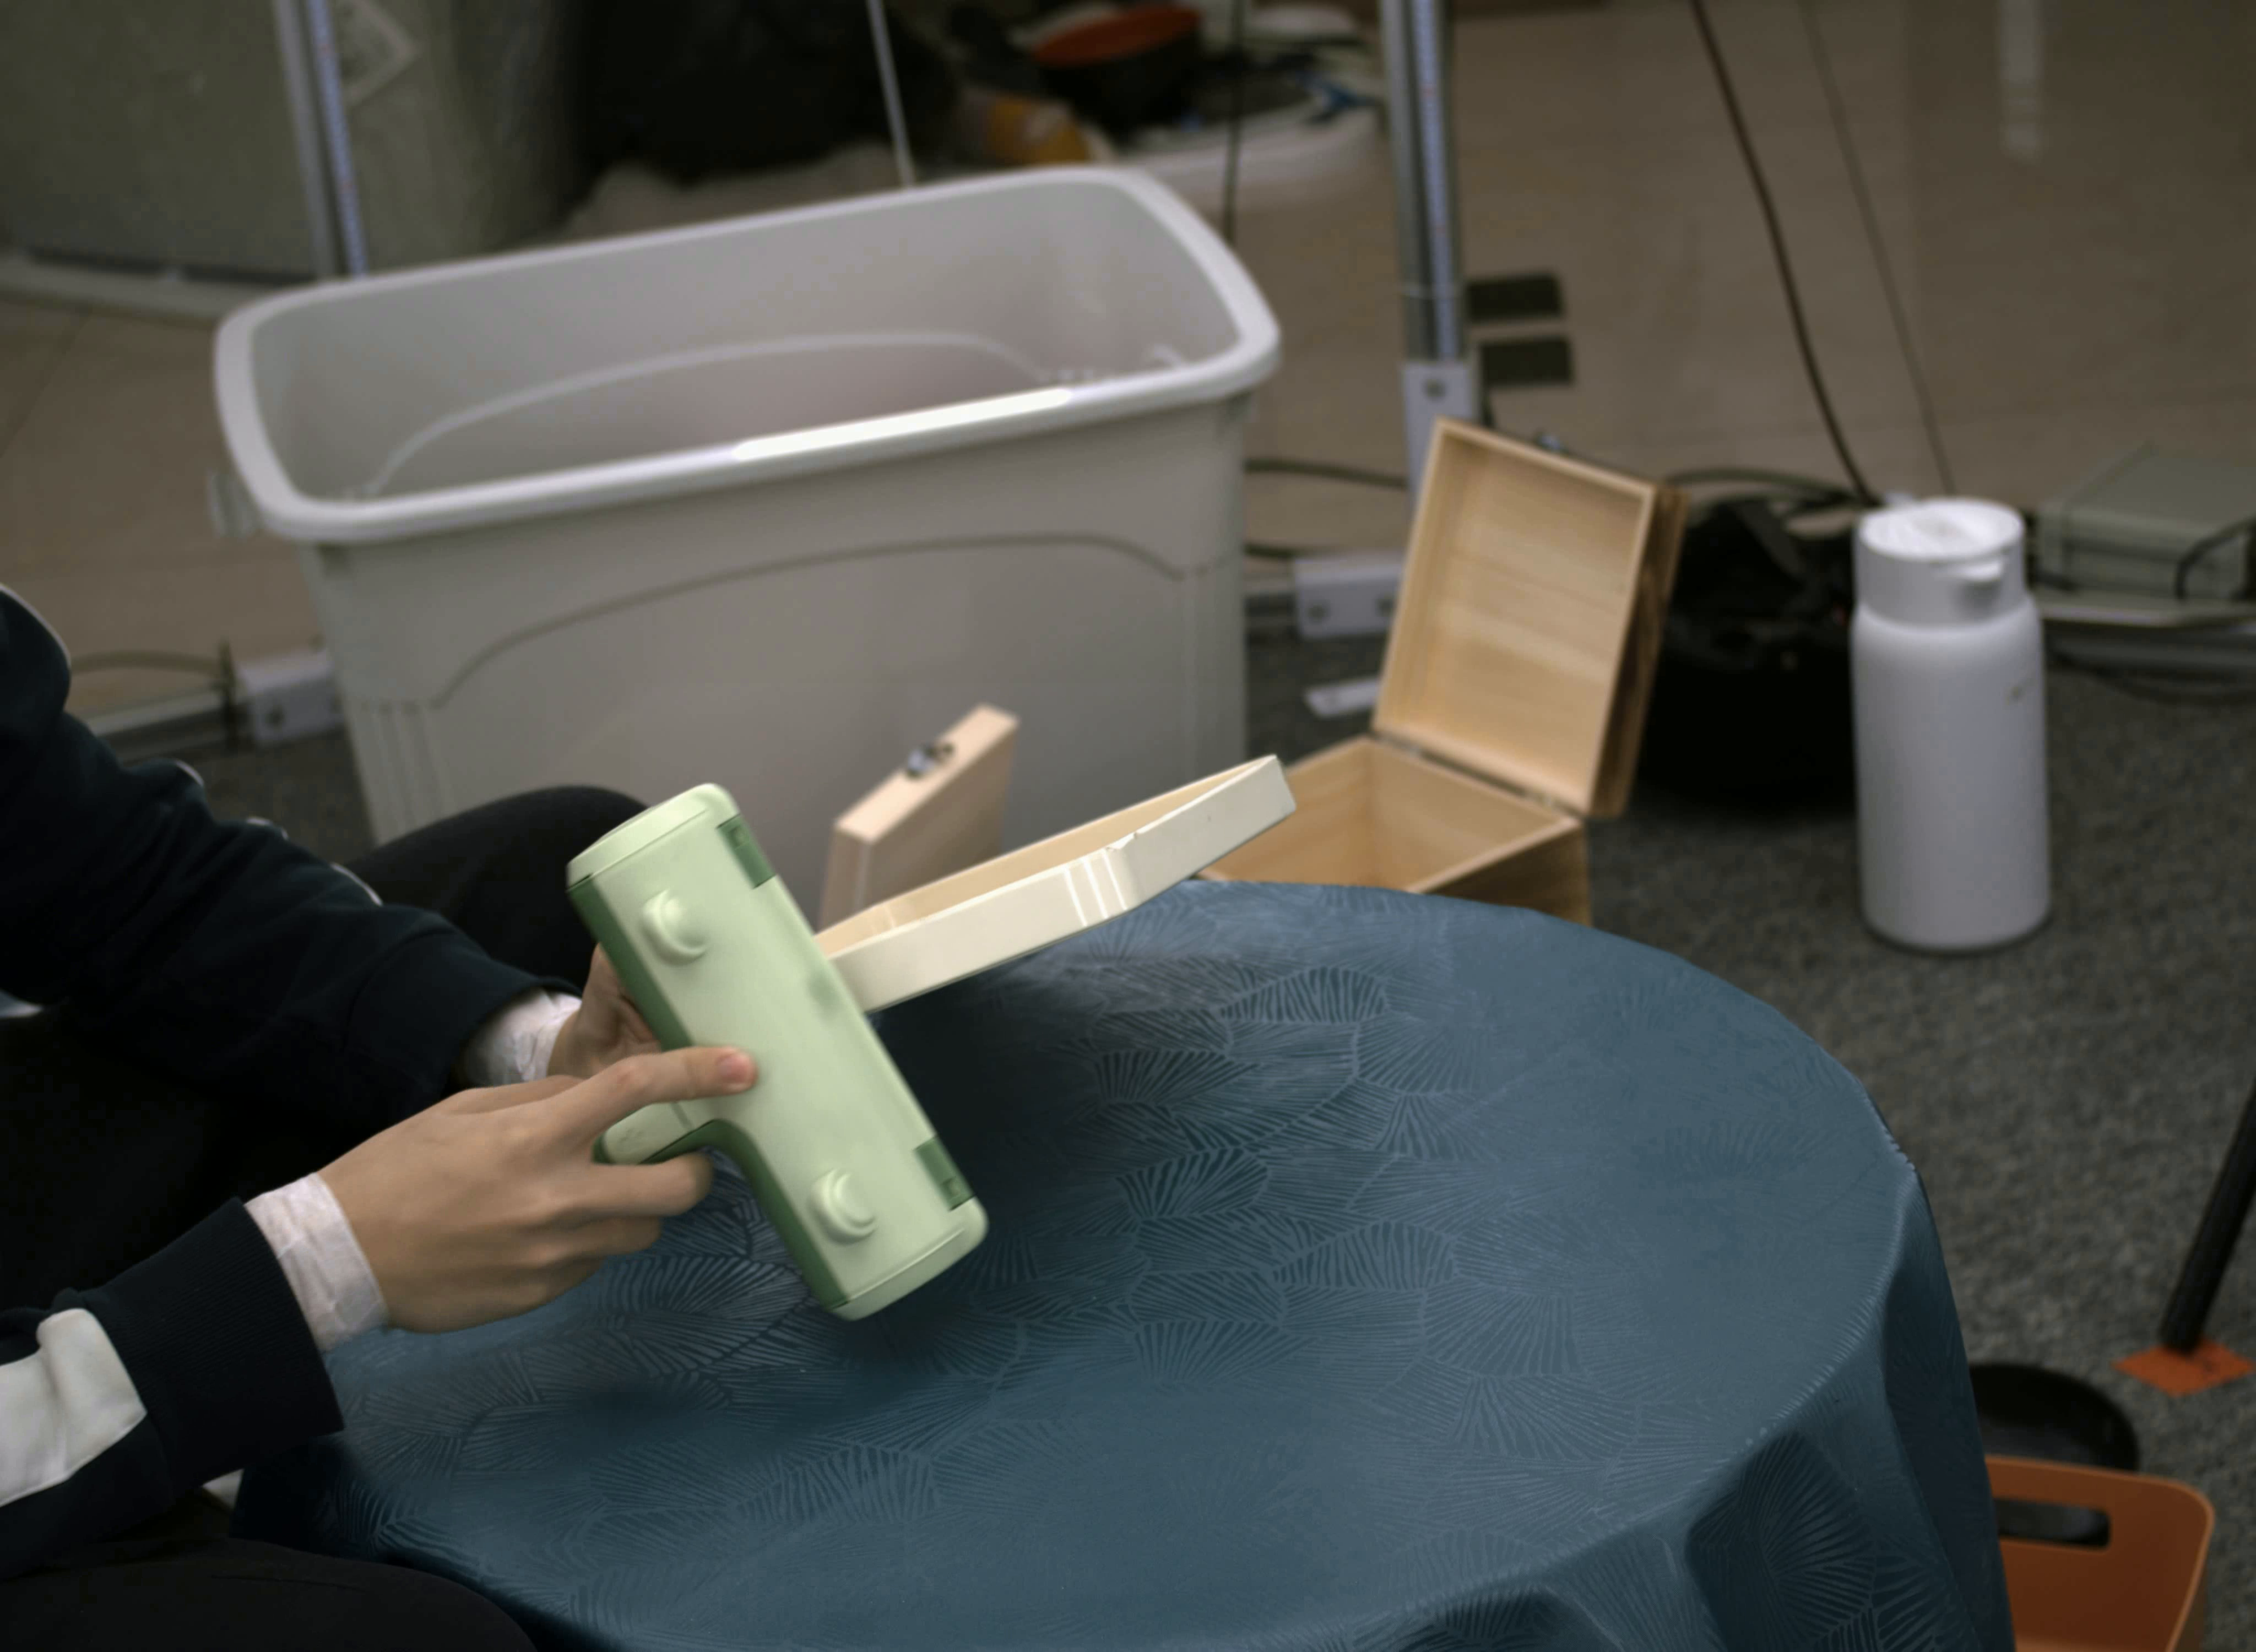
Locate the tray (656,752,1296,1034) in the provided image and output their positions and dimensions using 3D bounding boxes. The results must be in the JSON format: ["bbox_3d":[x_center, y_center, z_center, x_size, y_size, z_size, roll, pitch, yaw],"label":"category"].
[{"bbox_3d":[-0.052,0.033,2.186,0.192,0.027,0.298,-21,2,17],"label":"tray"}]

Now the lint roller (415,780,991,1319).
[{"bbox_3d":[-0.173,0.110,2.017,0.182,0.199,0.082,-31,3,-8],"label":"lint roller"}]
